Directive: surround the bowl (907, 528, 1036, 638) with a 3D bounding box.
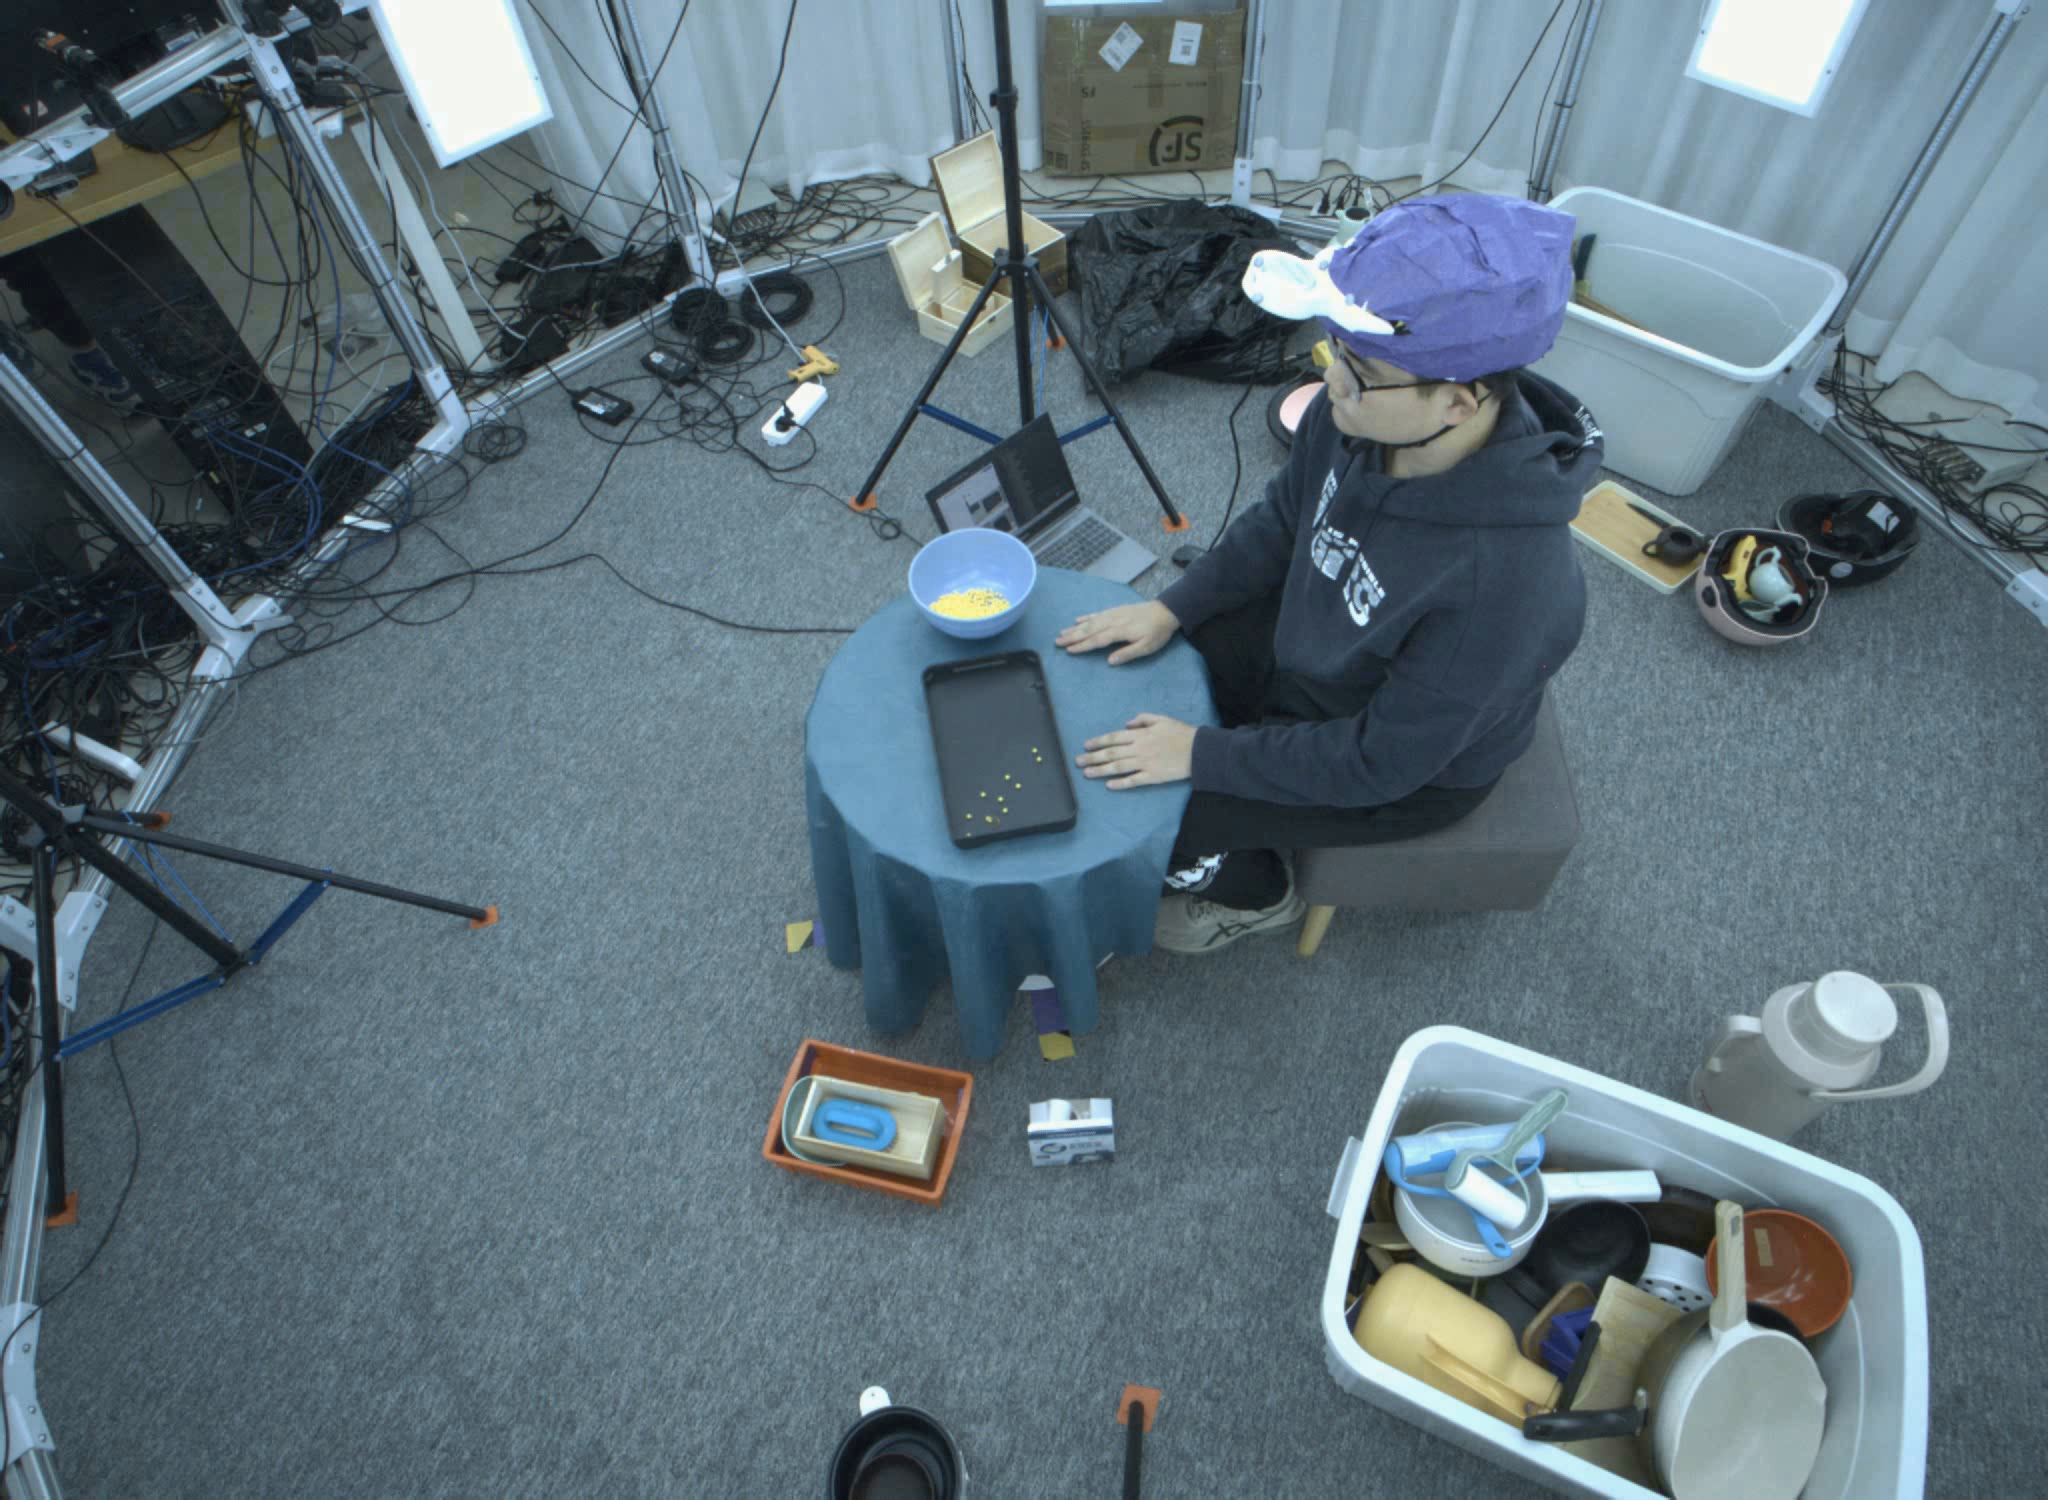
[{"bbox_3d":[-0.078,-0.244,1.904,0.196,0.096,0.194,0,54,2],"label":"bowl"}]

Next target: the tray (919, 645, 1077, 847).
[{"bbox_3d":[-0.041,-0.011,1.773,0.185,0.037,0.313,-9,55,-5],"label":"tray"}]
